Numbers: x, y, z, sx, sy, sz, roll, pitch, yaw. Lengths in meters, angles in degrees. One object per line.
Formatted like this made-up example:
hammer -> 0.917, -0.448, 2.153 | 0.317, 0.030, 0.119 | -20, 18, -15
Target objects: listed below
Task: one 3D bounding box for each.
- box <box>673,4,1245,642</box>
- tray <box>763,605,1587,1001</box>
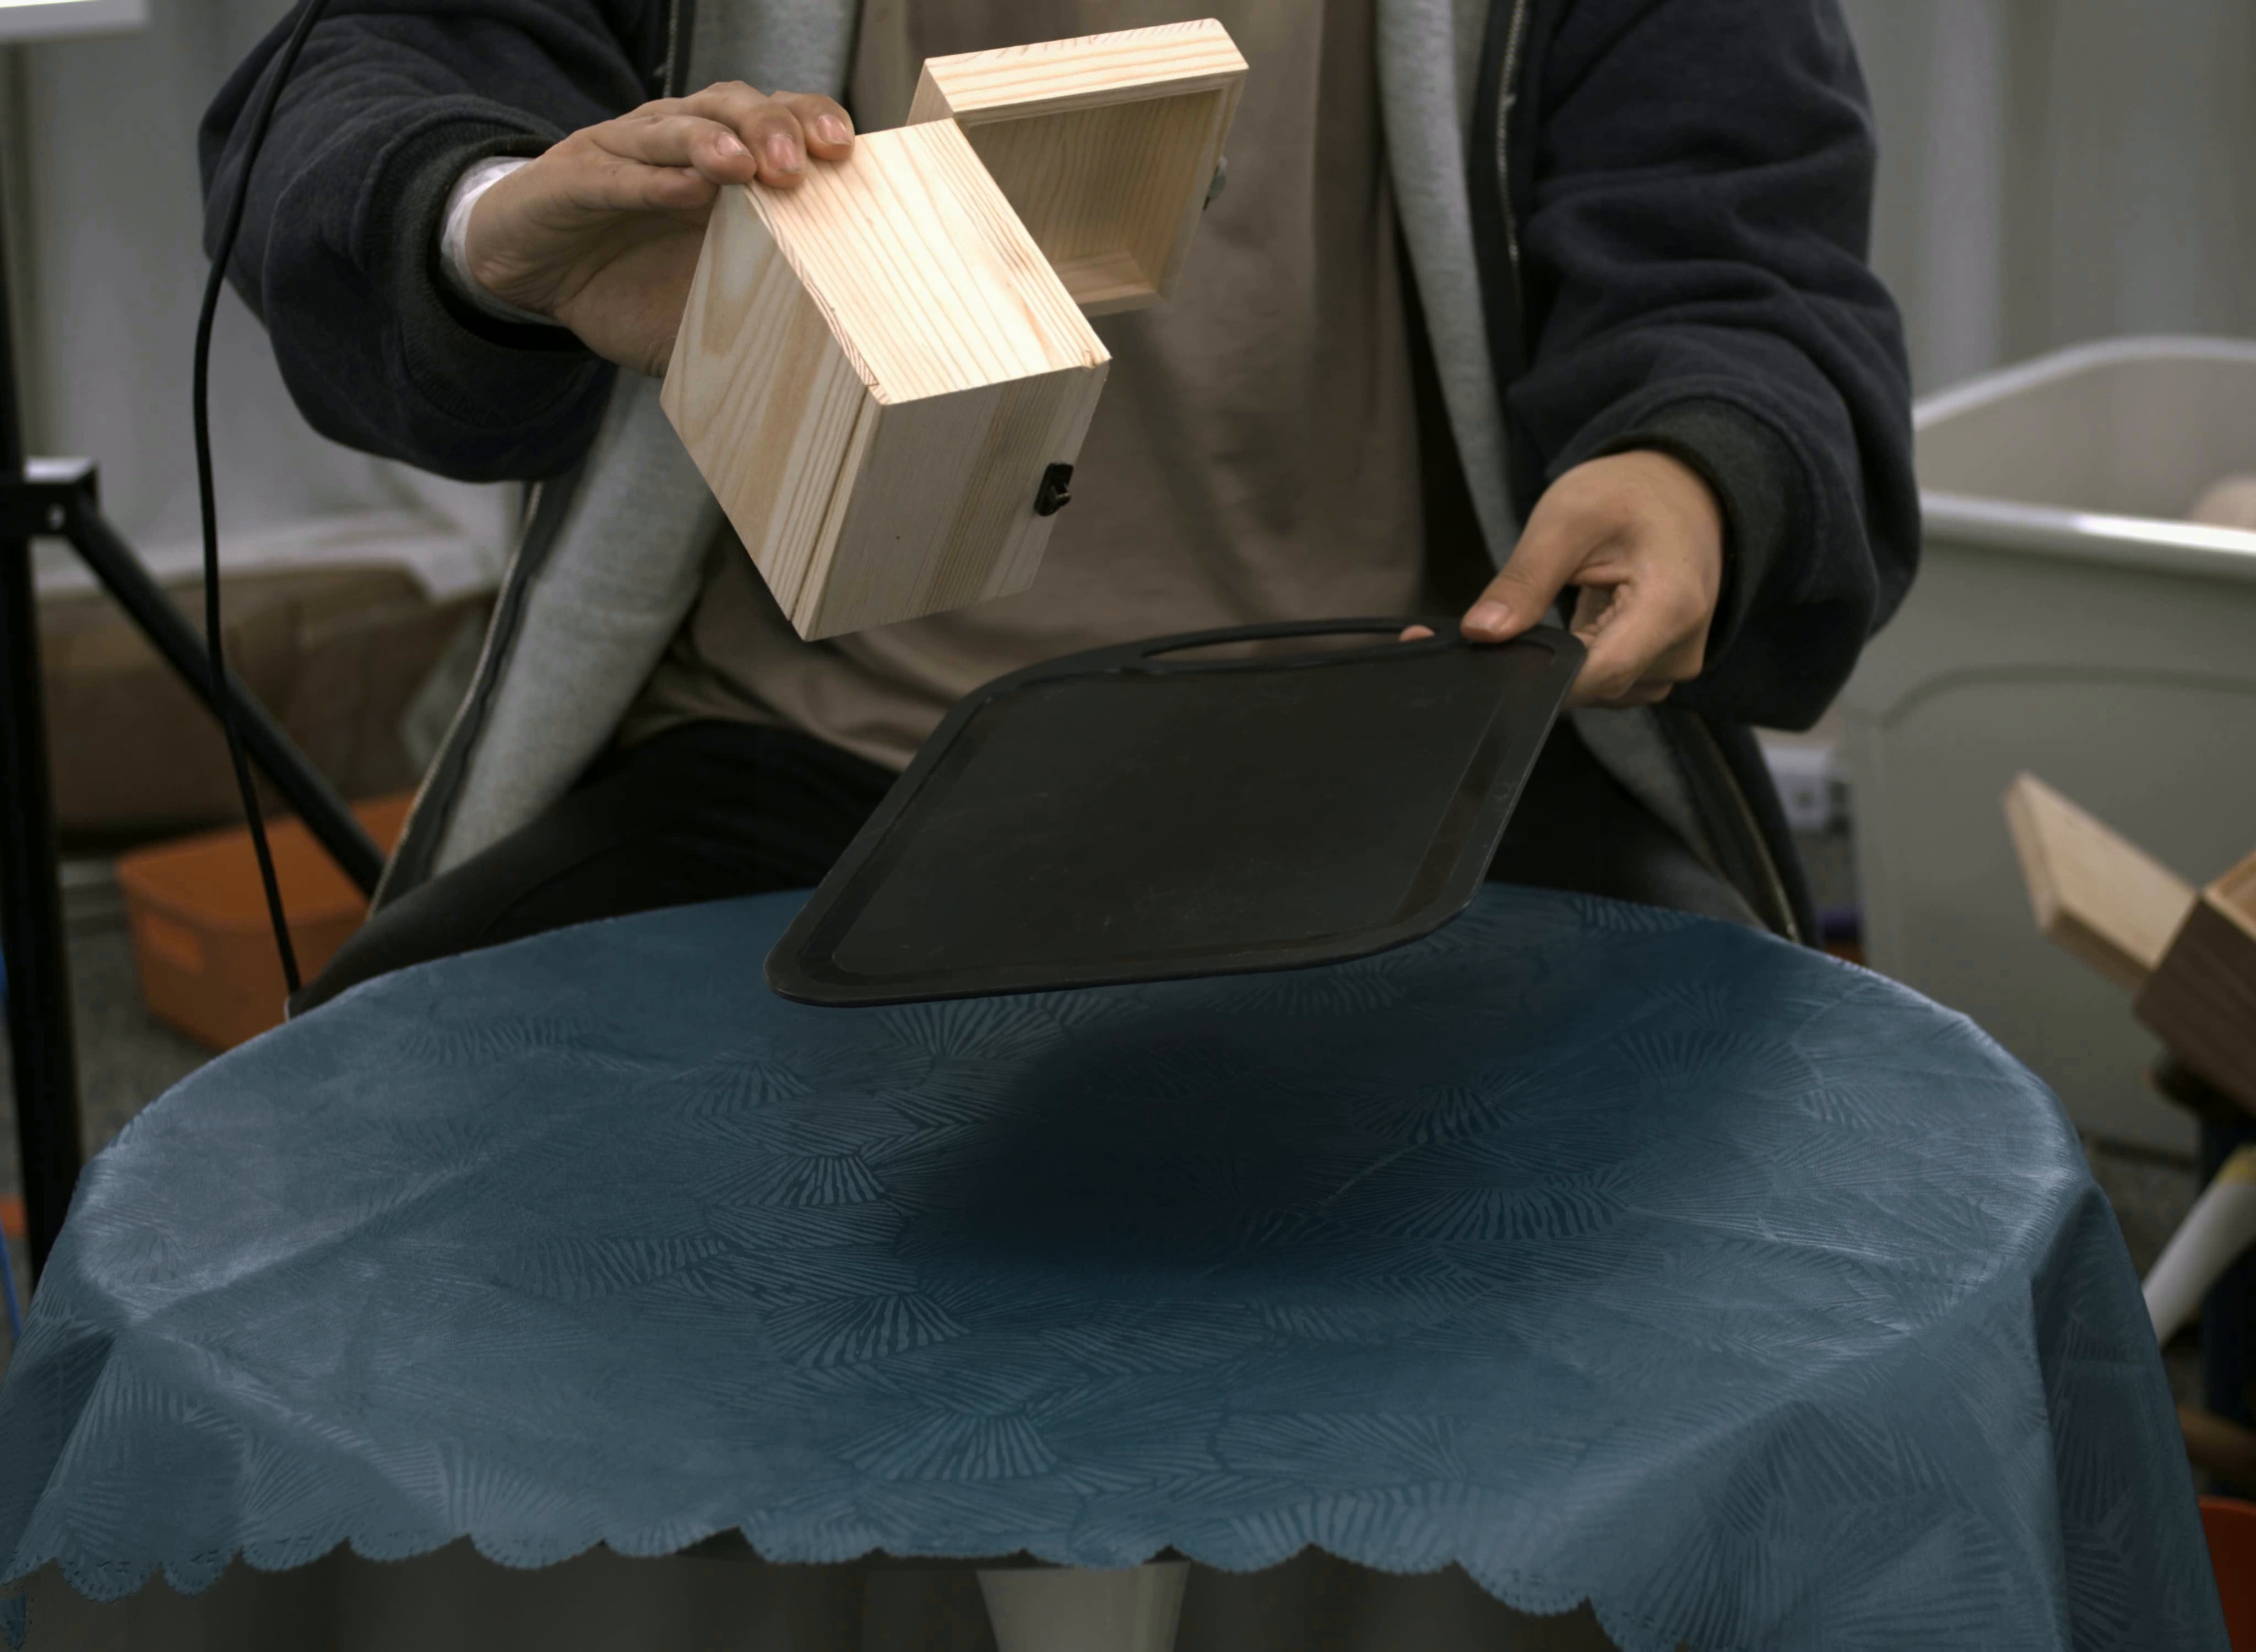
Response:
box -> -0.030, -0.150, 1.588 | 0.181, 0.103, 0.136 | -16, 56, -27
tray -> 0.022, -0.014, 1.614 | 0.213, 0.010, 0.323 | -5, 19, 17
